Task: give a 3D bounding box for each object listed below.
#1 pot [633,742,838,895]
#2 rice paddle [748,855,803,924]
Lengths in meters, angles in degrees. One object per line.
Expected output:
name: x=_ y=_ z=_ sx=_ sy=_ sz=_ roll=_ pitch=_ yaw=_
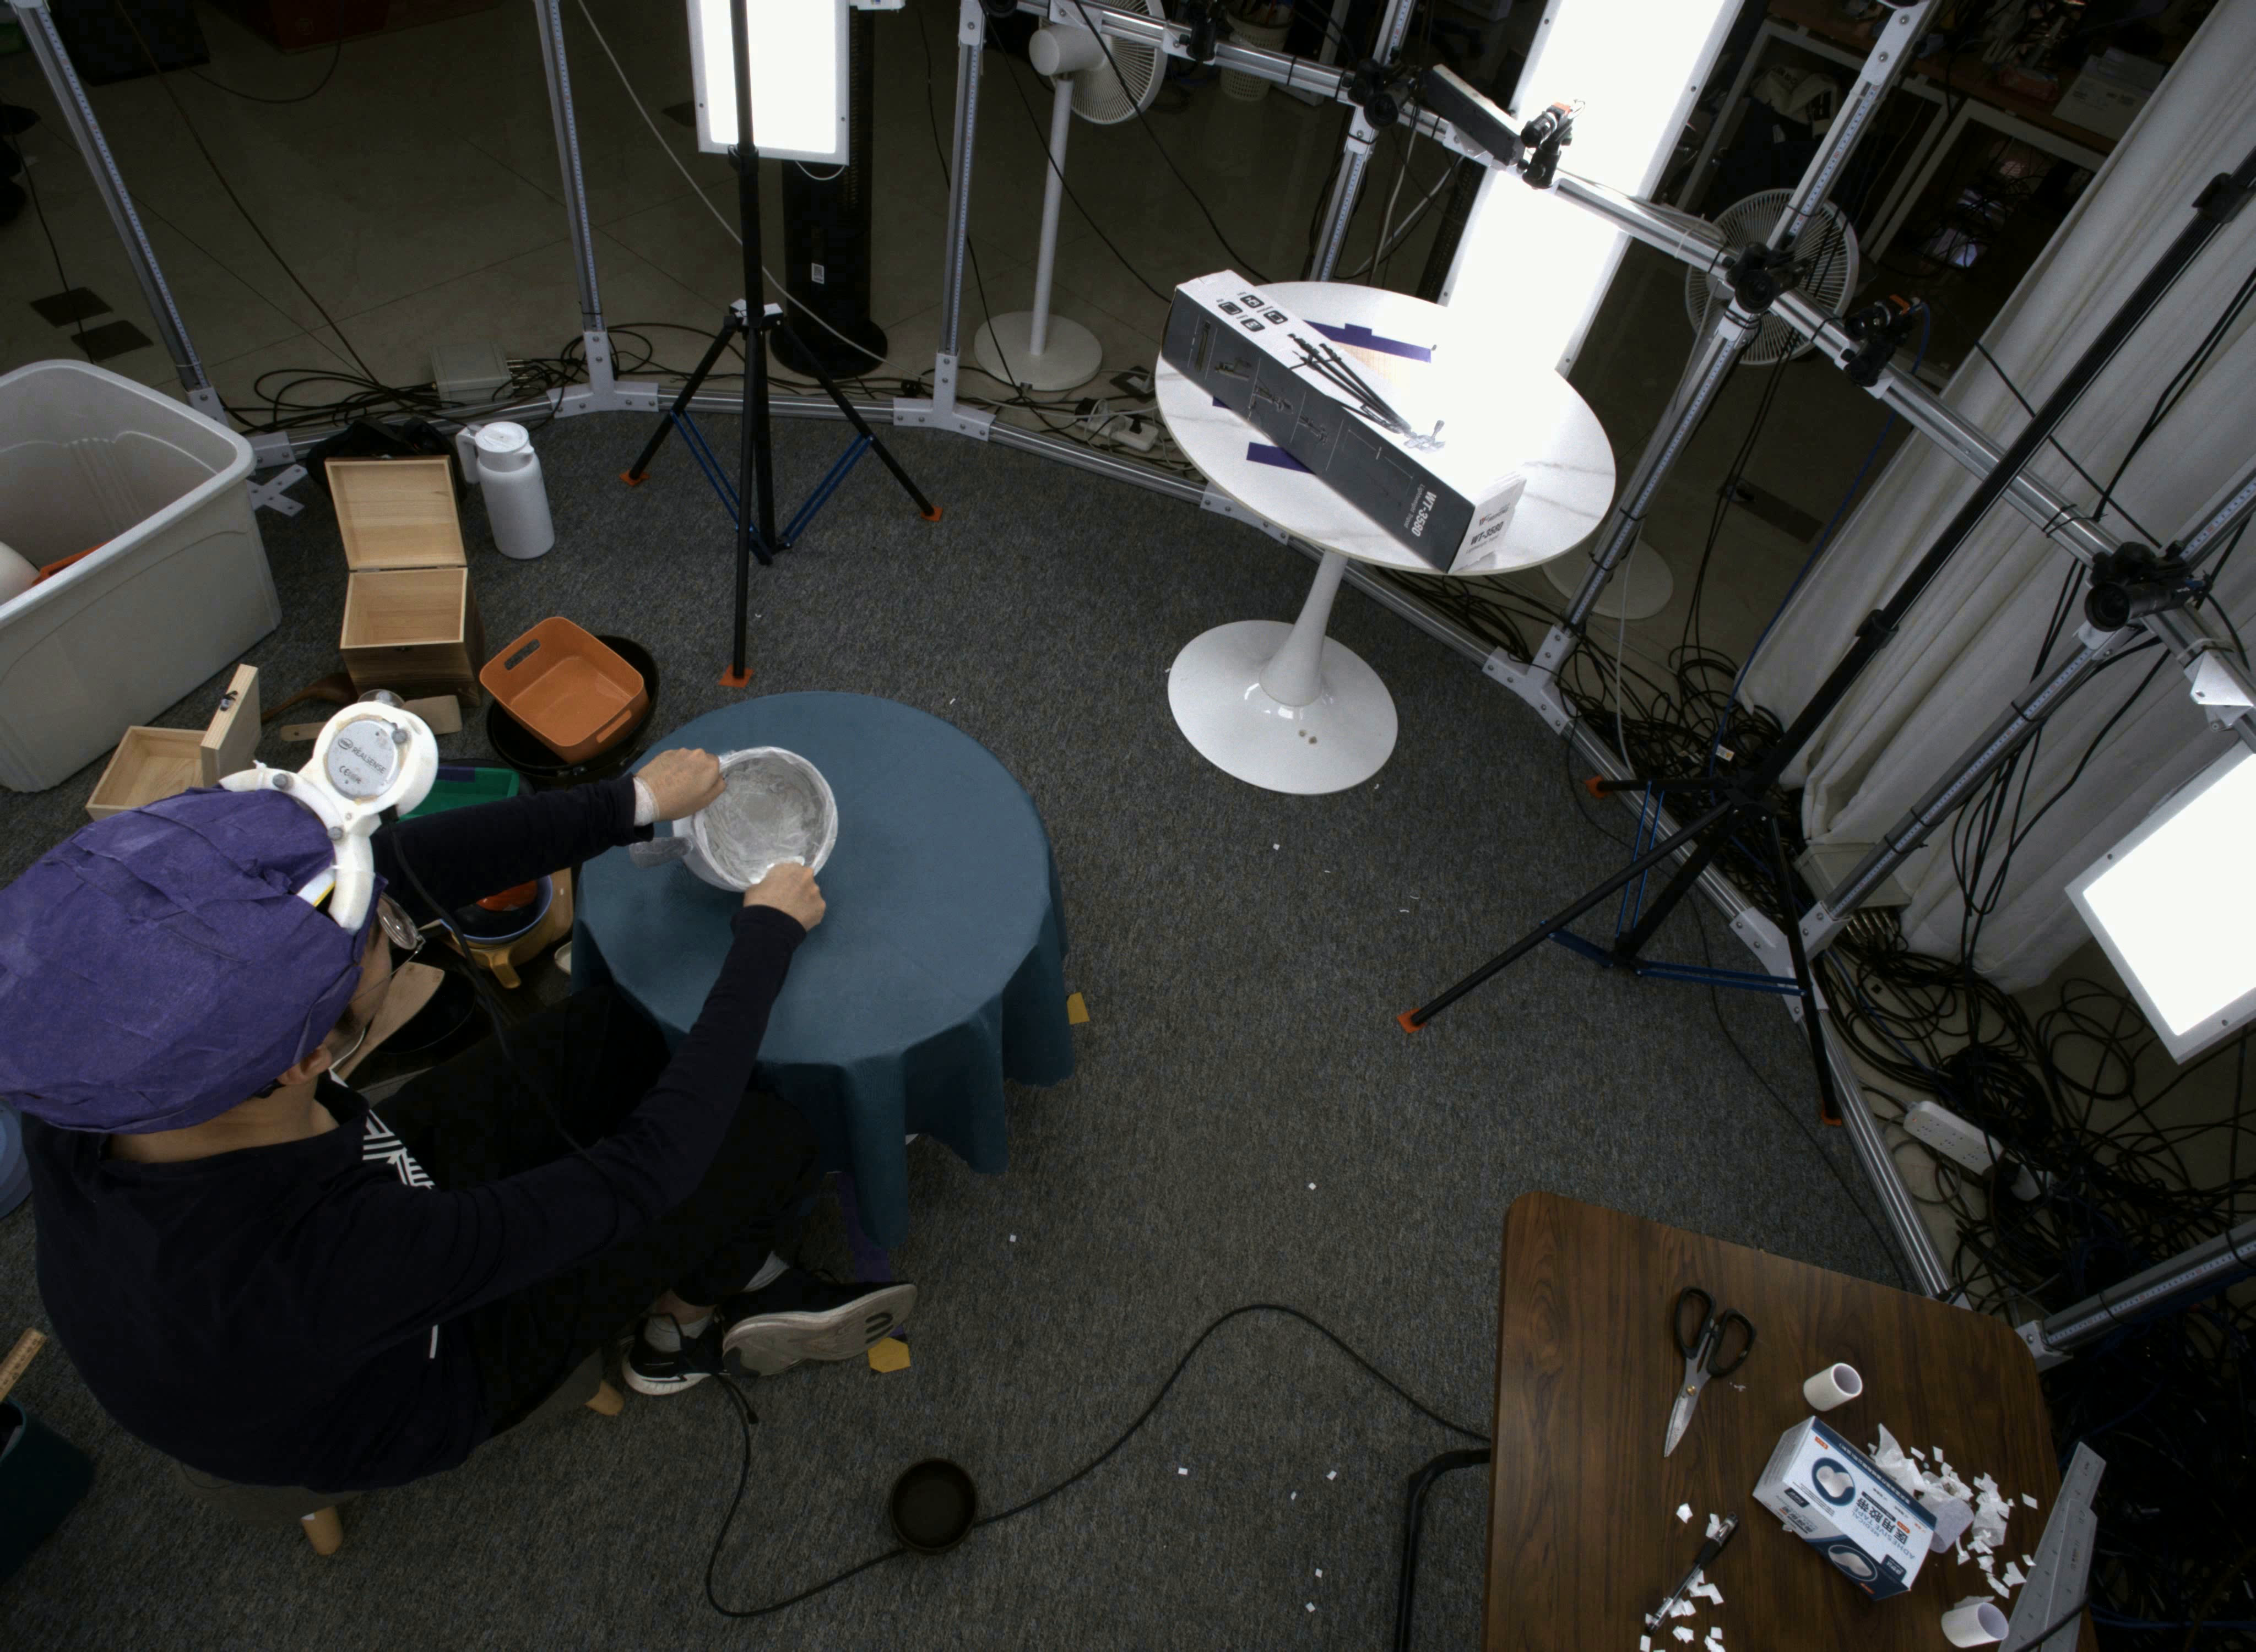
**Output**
pot: x=-0.488 y=0.002 z=1.589 sx=0.235 sy=0.133 sz=0.182 roll=-23 pitch=99 yaw=-32
rice paddle: x=-0.402 y=0.064 z=1.486 sx=0.068 sy=0.030 sz=0.199 roll=-23 pitch=20 yaw=-11
